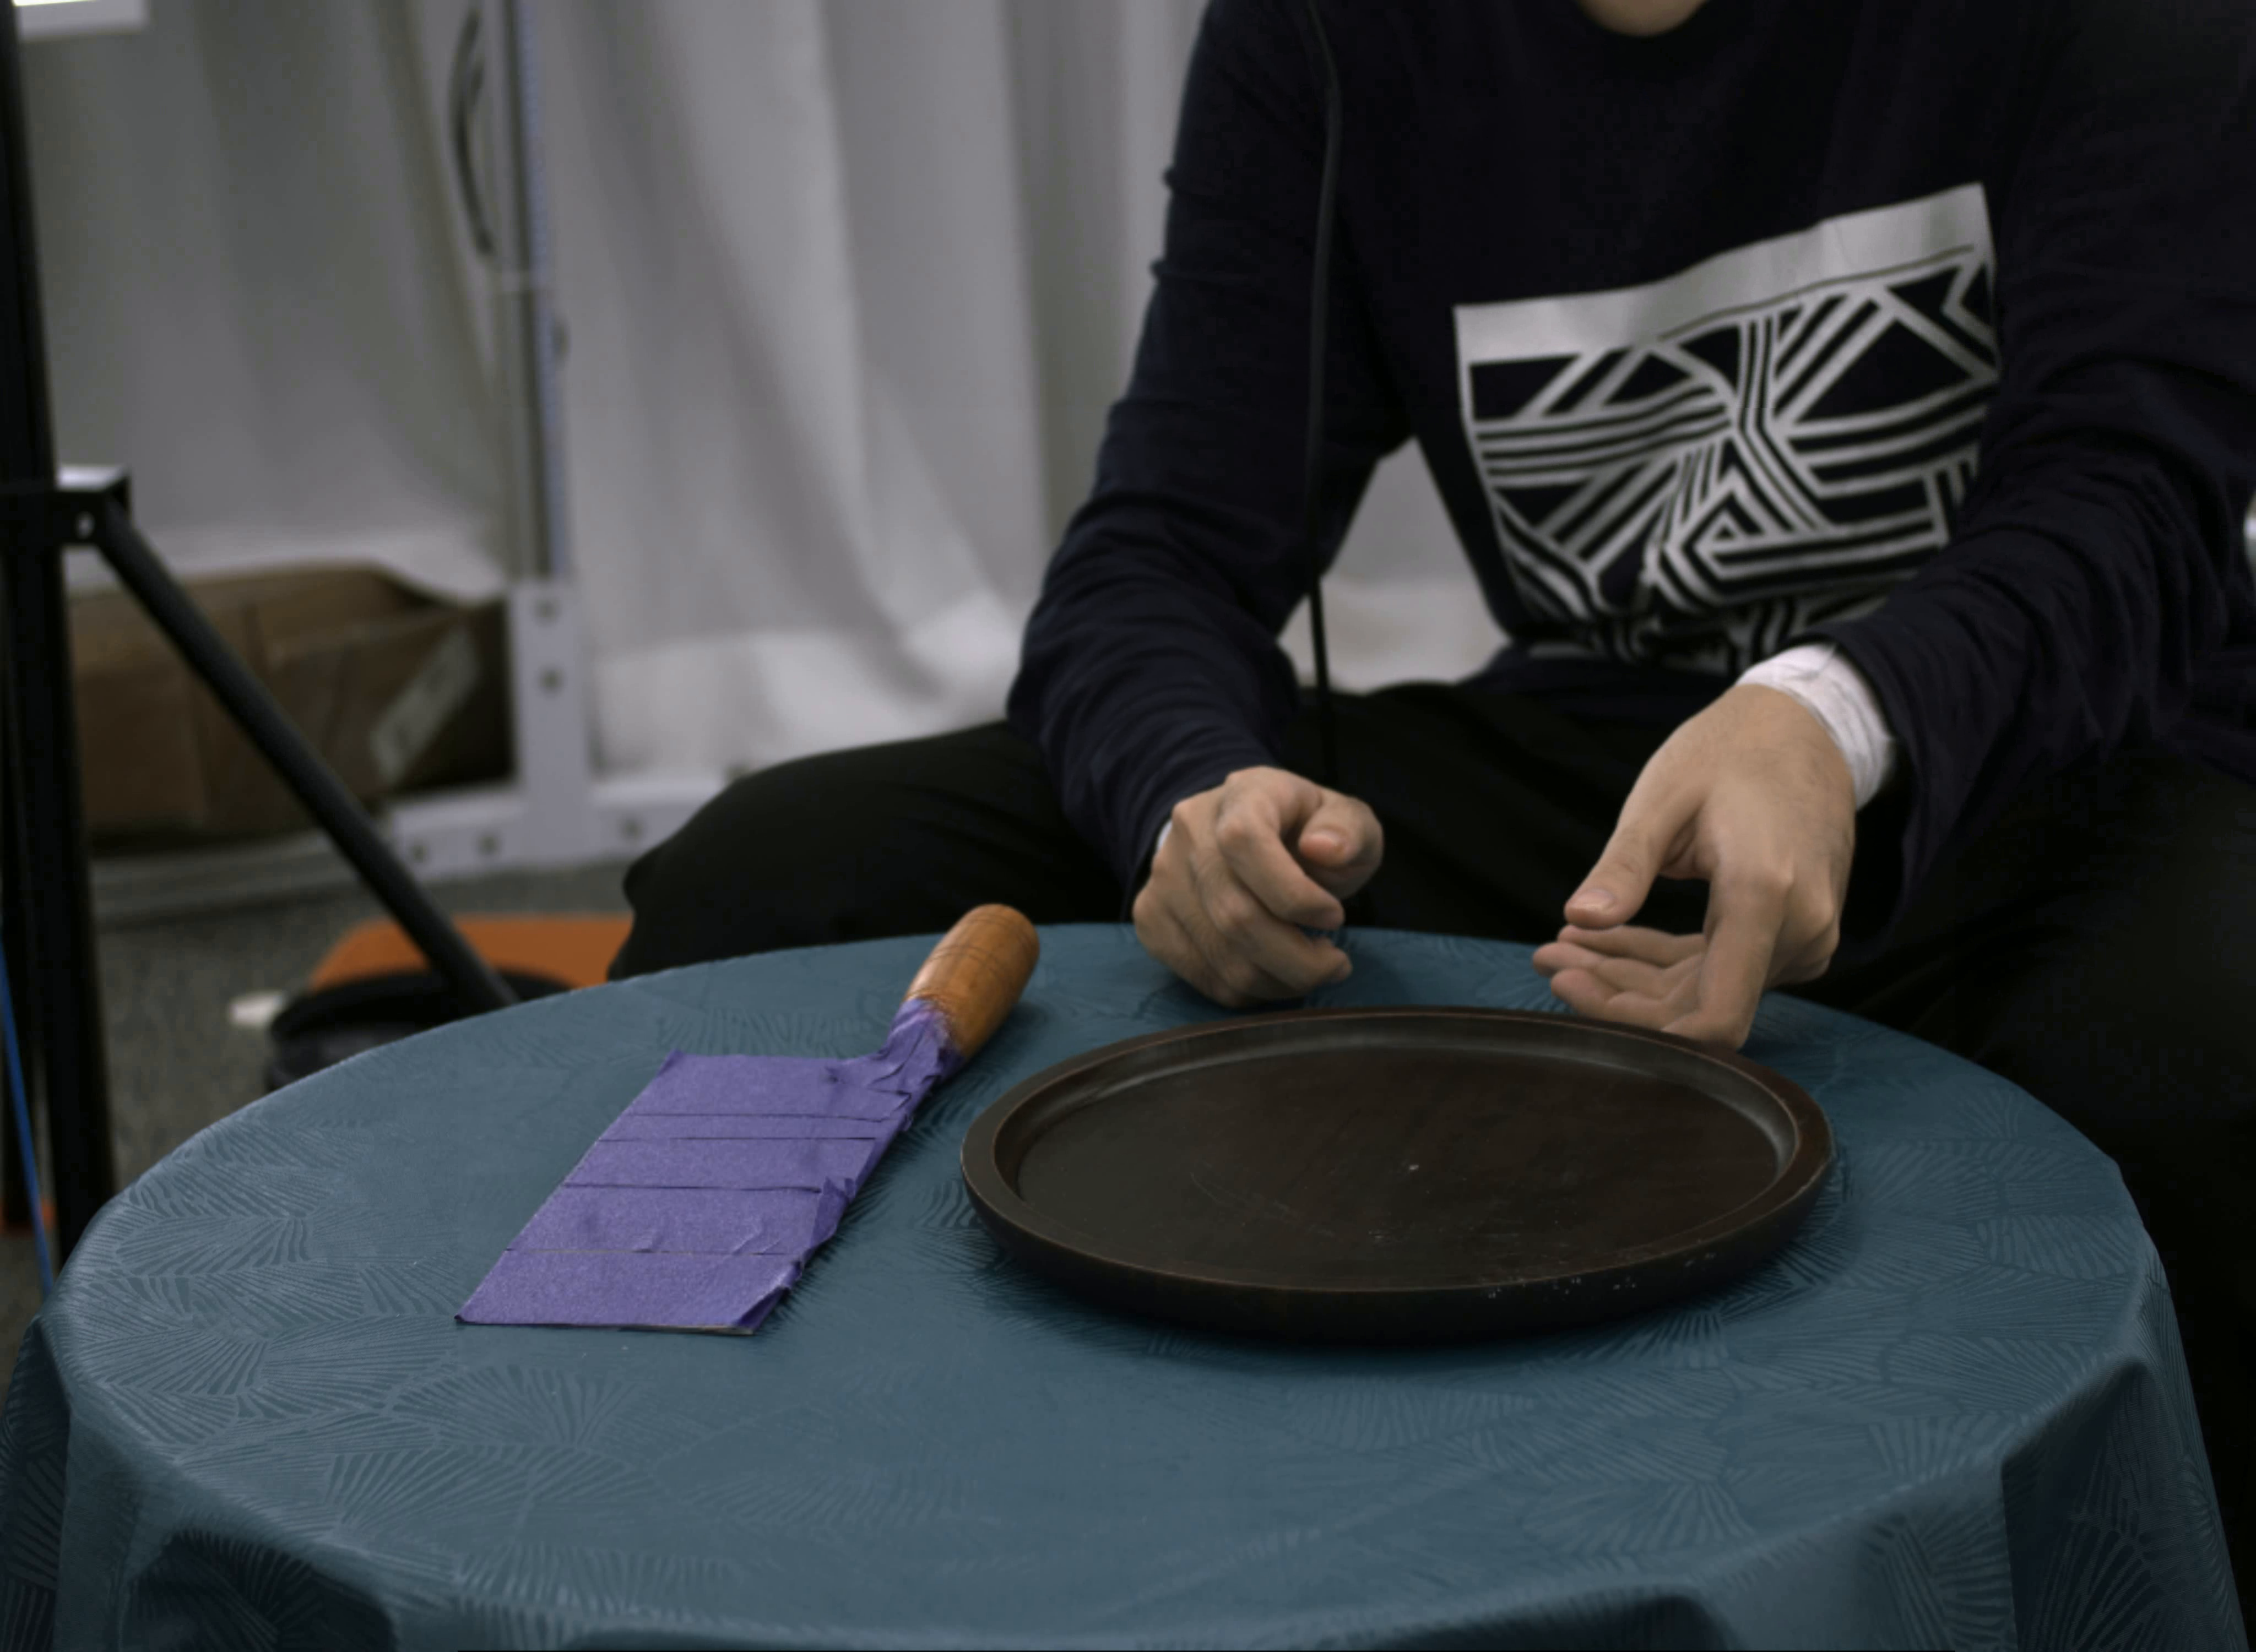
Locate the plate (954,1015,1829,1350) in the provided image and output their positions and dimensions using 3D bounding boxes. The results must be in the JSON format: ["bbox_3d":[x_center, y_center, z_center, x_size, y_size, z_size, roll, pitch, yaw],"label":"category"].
[{"bbox_3d":[0.076,0.100,1.536,0.253,0.029,0.256,-2,17,-1],"label":"plate"}]

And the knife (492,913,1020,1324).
[{"bbox_3d":[-0.109,0.085,1.611,0.104,0.032,0.313,1,17,13],"label":"knife"}]
